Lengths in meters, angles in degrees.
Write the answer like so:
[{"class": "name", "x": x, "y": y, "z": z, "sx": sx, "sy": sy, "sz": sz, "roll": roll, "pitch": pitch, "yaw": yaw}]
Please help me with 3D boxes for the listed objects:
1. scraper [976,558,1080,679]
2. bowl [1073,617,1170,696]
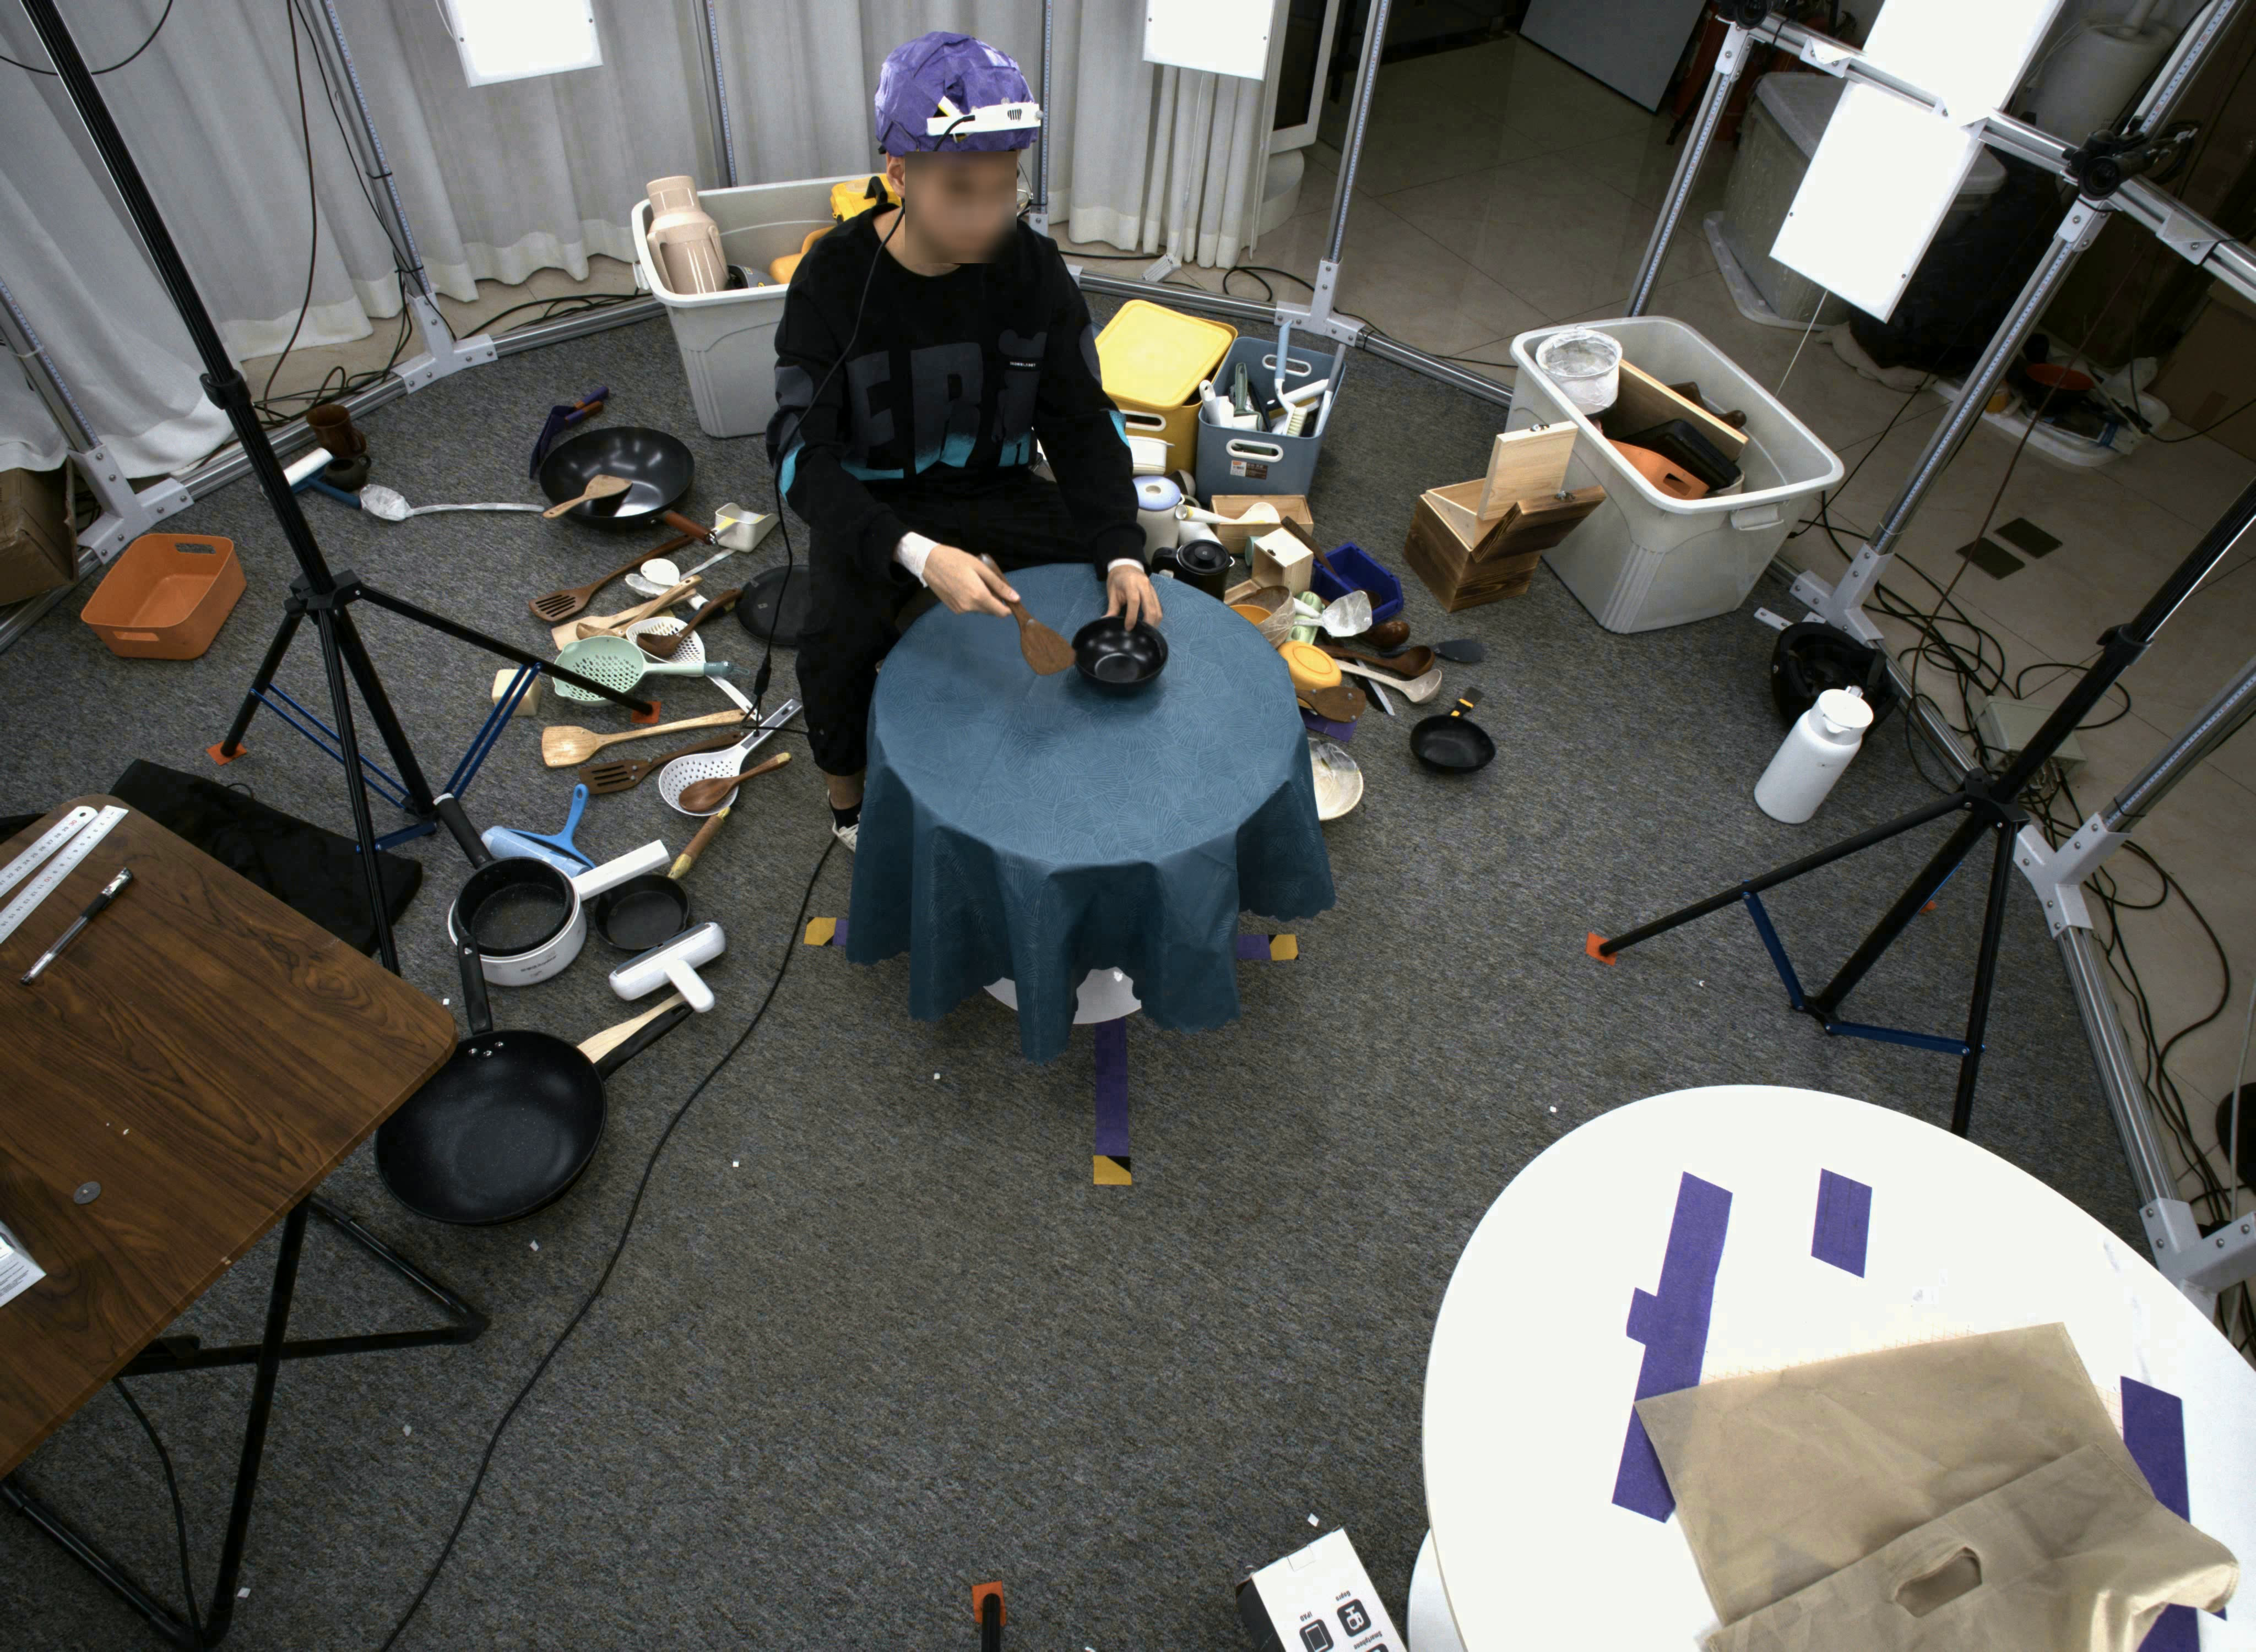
[{"class": "scraper", "x": -0.148, "y": -0.290, "z": 1.783, "sx": 0.076, "sy": 0.010, "sz": 0.214, "roll": -24, "pitch": 71, "yaw": -32}, {"class": "bowl", "x": -0.010, "y": -0.237, "z": 1.858, "sx": 0.140, "sy": 0.048, "sz": 0.143, "roll": 1, "pitch": 51, "yaw": -2}]
